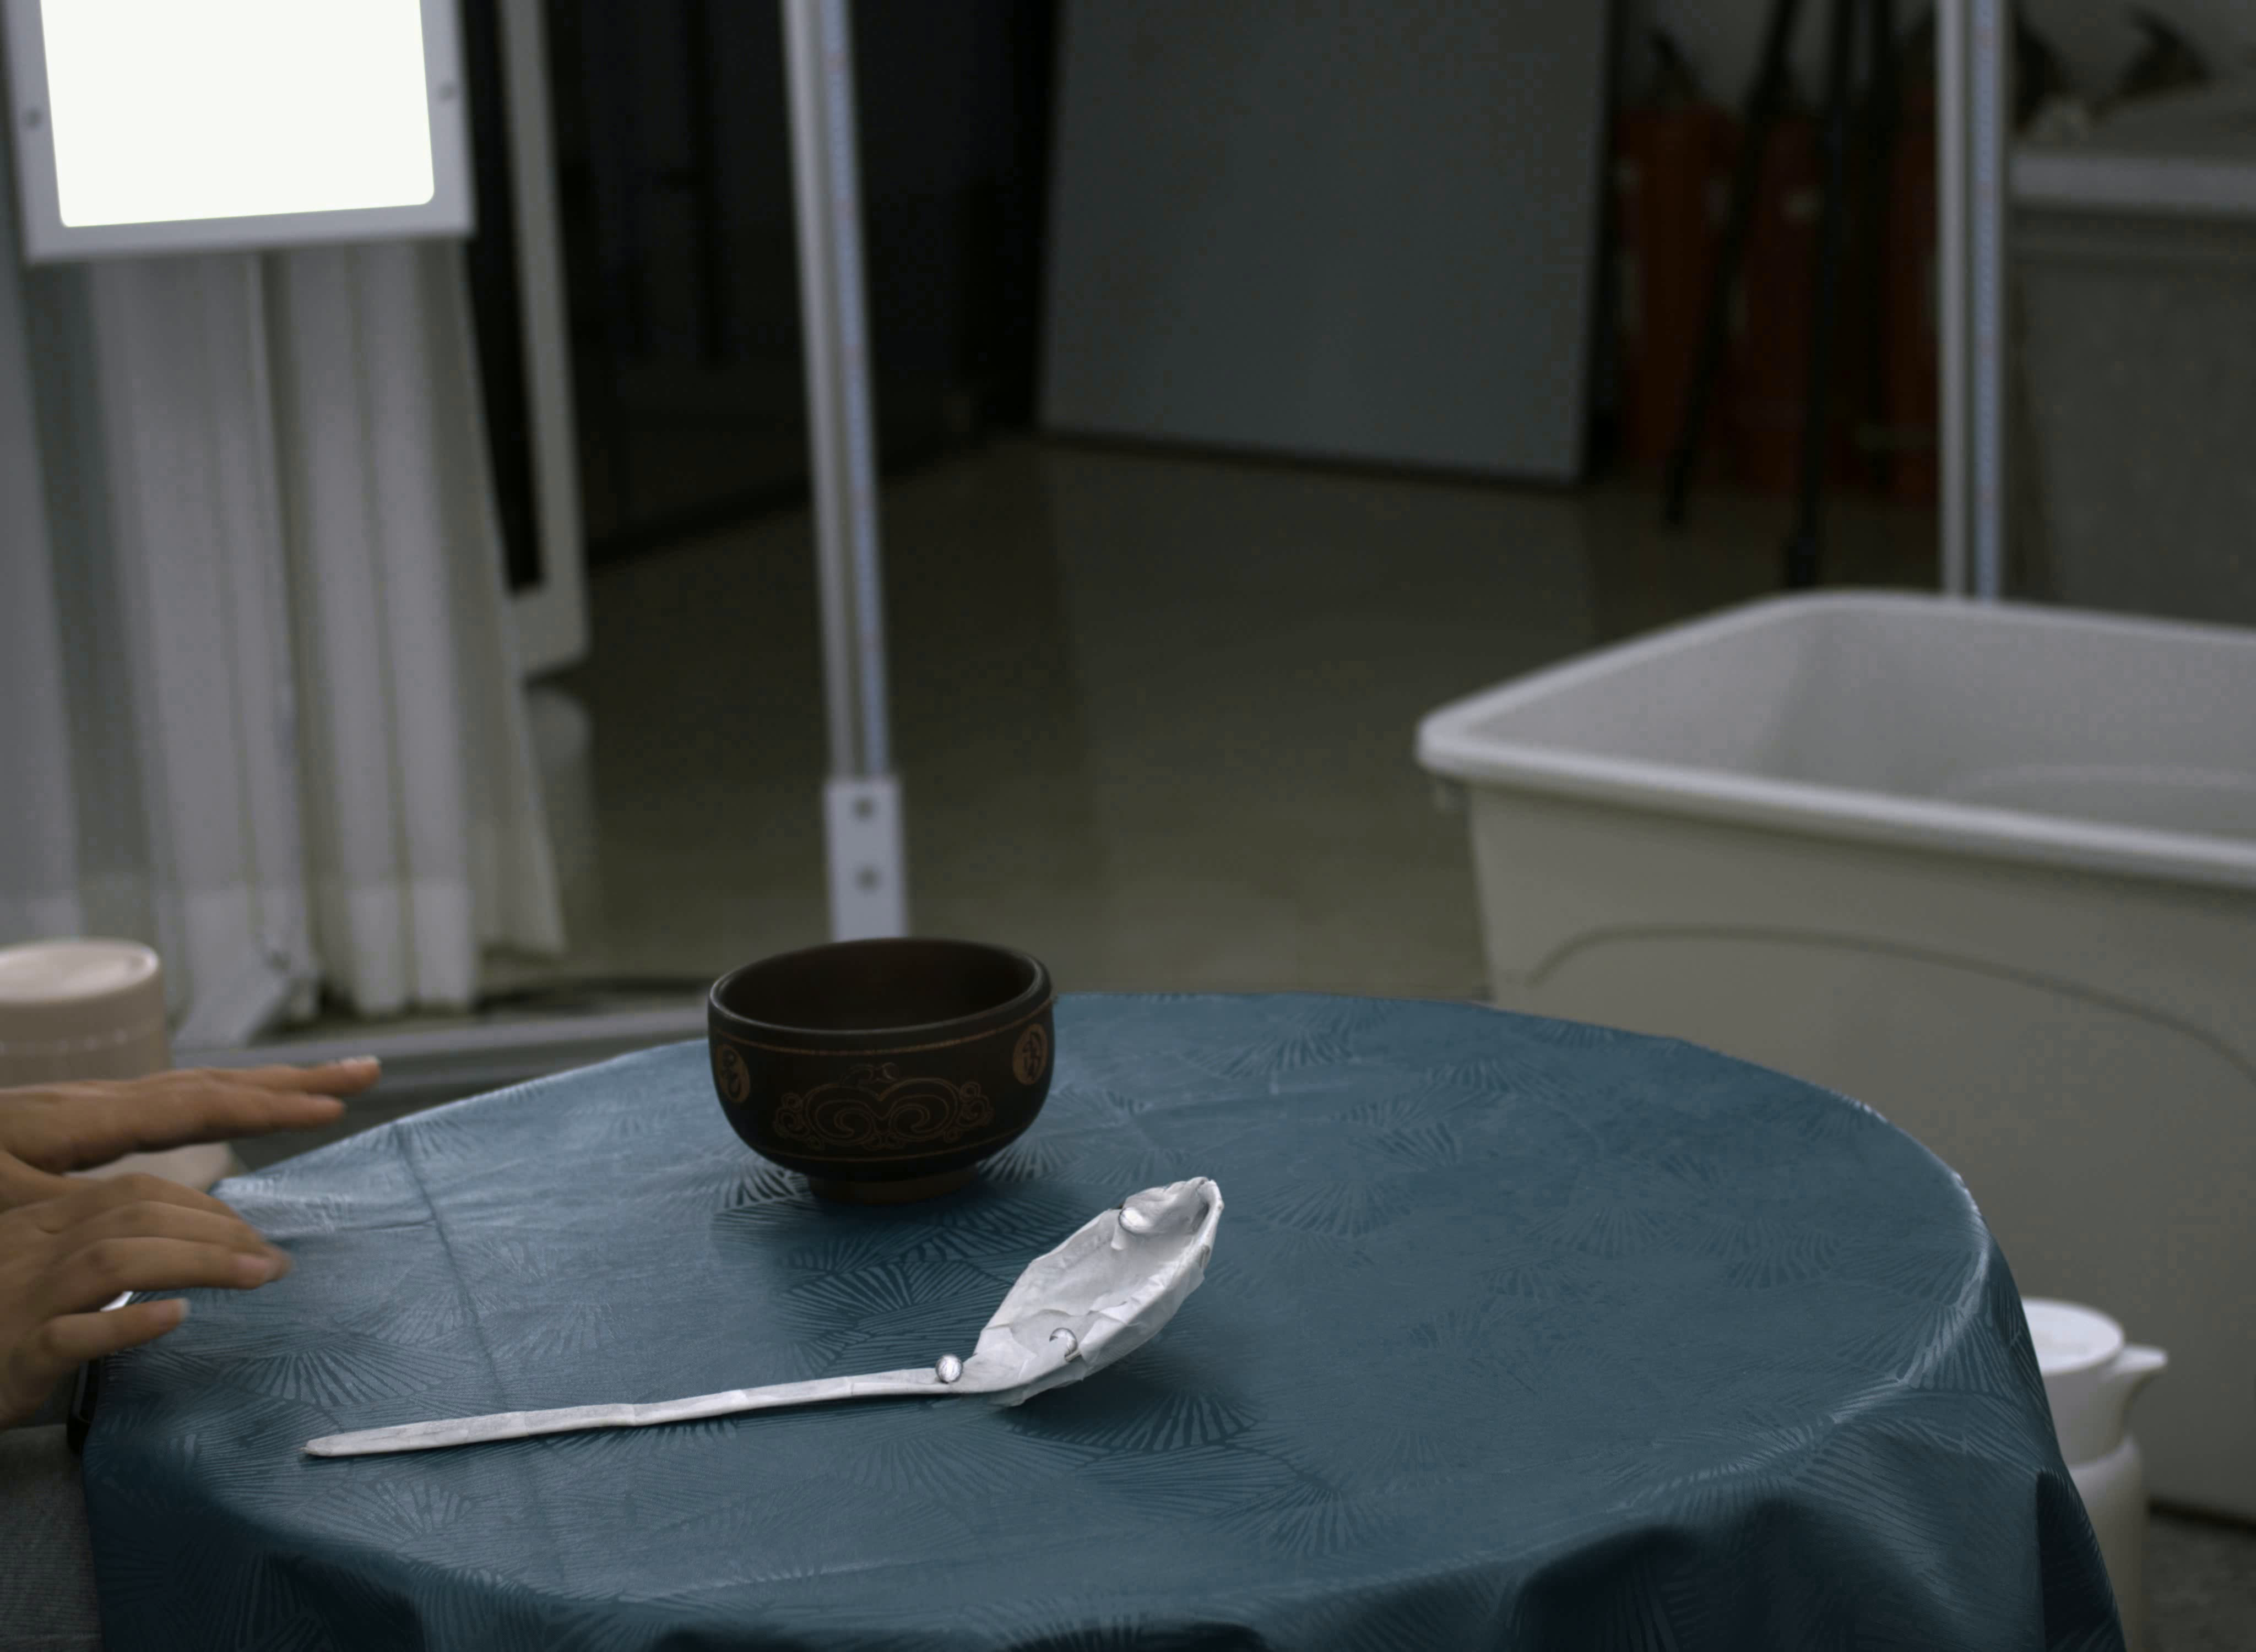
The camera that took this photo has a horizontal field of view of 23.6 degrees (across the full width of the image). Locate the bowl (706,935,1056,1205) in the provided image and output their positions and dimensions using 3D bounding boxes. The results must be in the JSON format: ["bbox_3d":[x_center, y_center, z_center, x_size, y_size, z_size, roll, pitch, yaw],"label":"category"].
[{"bbox_3d":[-0.081,0.084,1.791,0.116,0.070,0.118,-4,13,0],"label":"bowl"}]

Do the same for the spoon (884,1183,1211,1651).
[{"bbox_3d":[-0.037,0.229,1.577,0.058,0.280,0.101,21,-18,-19],"label":"spoon"}]
